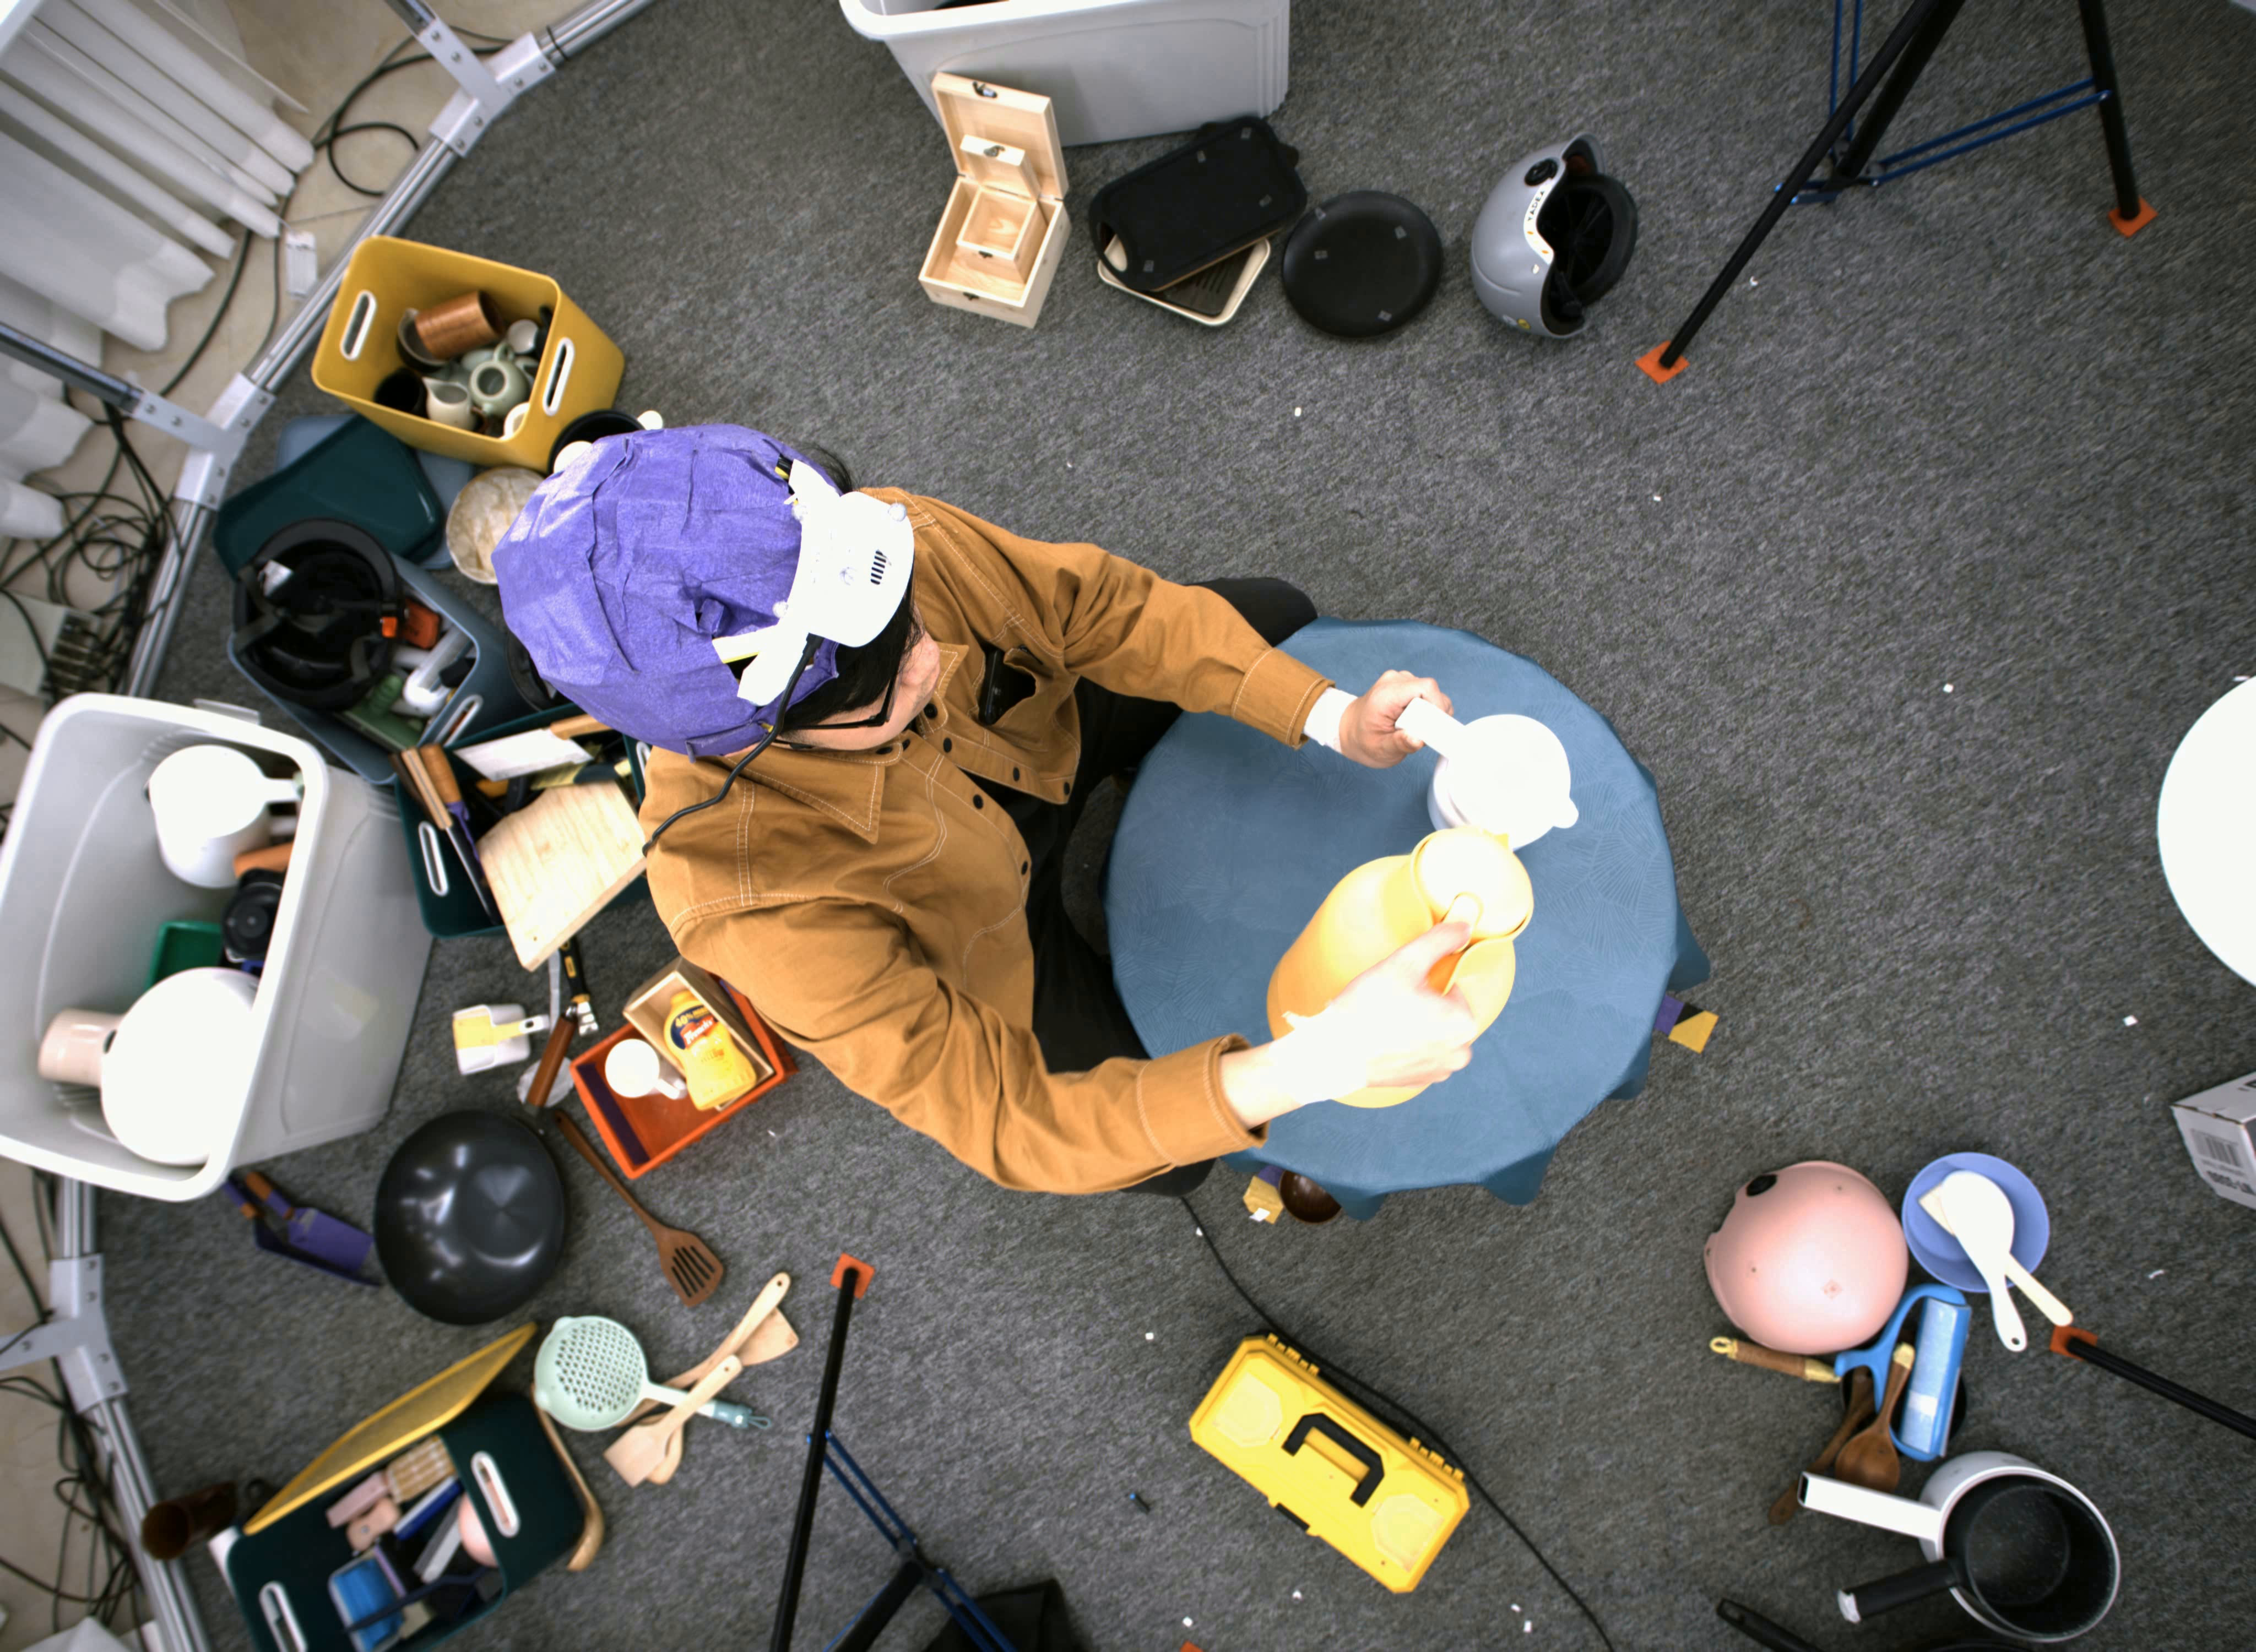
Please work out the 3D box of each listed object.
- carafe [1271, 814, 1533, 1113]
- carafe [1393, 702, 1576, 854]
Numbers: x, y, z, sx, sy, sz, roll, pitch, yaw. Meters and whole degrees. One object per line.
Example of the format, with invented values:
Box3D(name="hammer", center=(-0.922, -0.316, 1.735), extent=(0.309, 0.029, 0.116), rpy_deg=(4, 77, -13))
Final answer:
Box3D(name="carafe", center=(0.213, 0.118, 1.081), extent=(0.163, 0.267, 0.197), rpy_deg=(29, 51, 7))
Box3D(name="carafe", center=(0.321, -0.043, 1.263), extent=(0.172, 0.268, 0.124), rpy_deg=(35, 96, 11))
